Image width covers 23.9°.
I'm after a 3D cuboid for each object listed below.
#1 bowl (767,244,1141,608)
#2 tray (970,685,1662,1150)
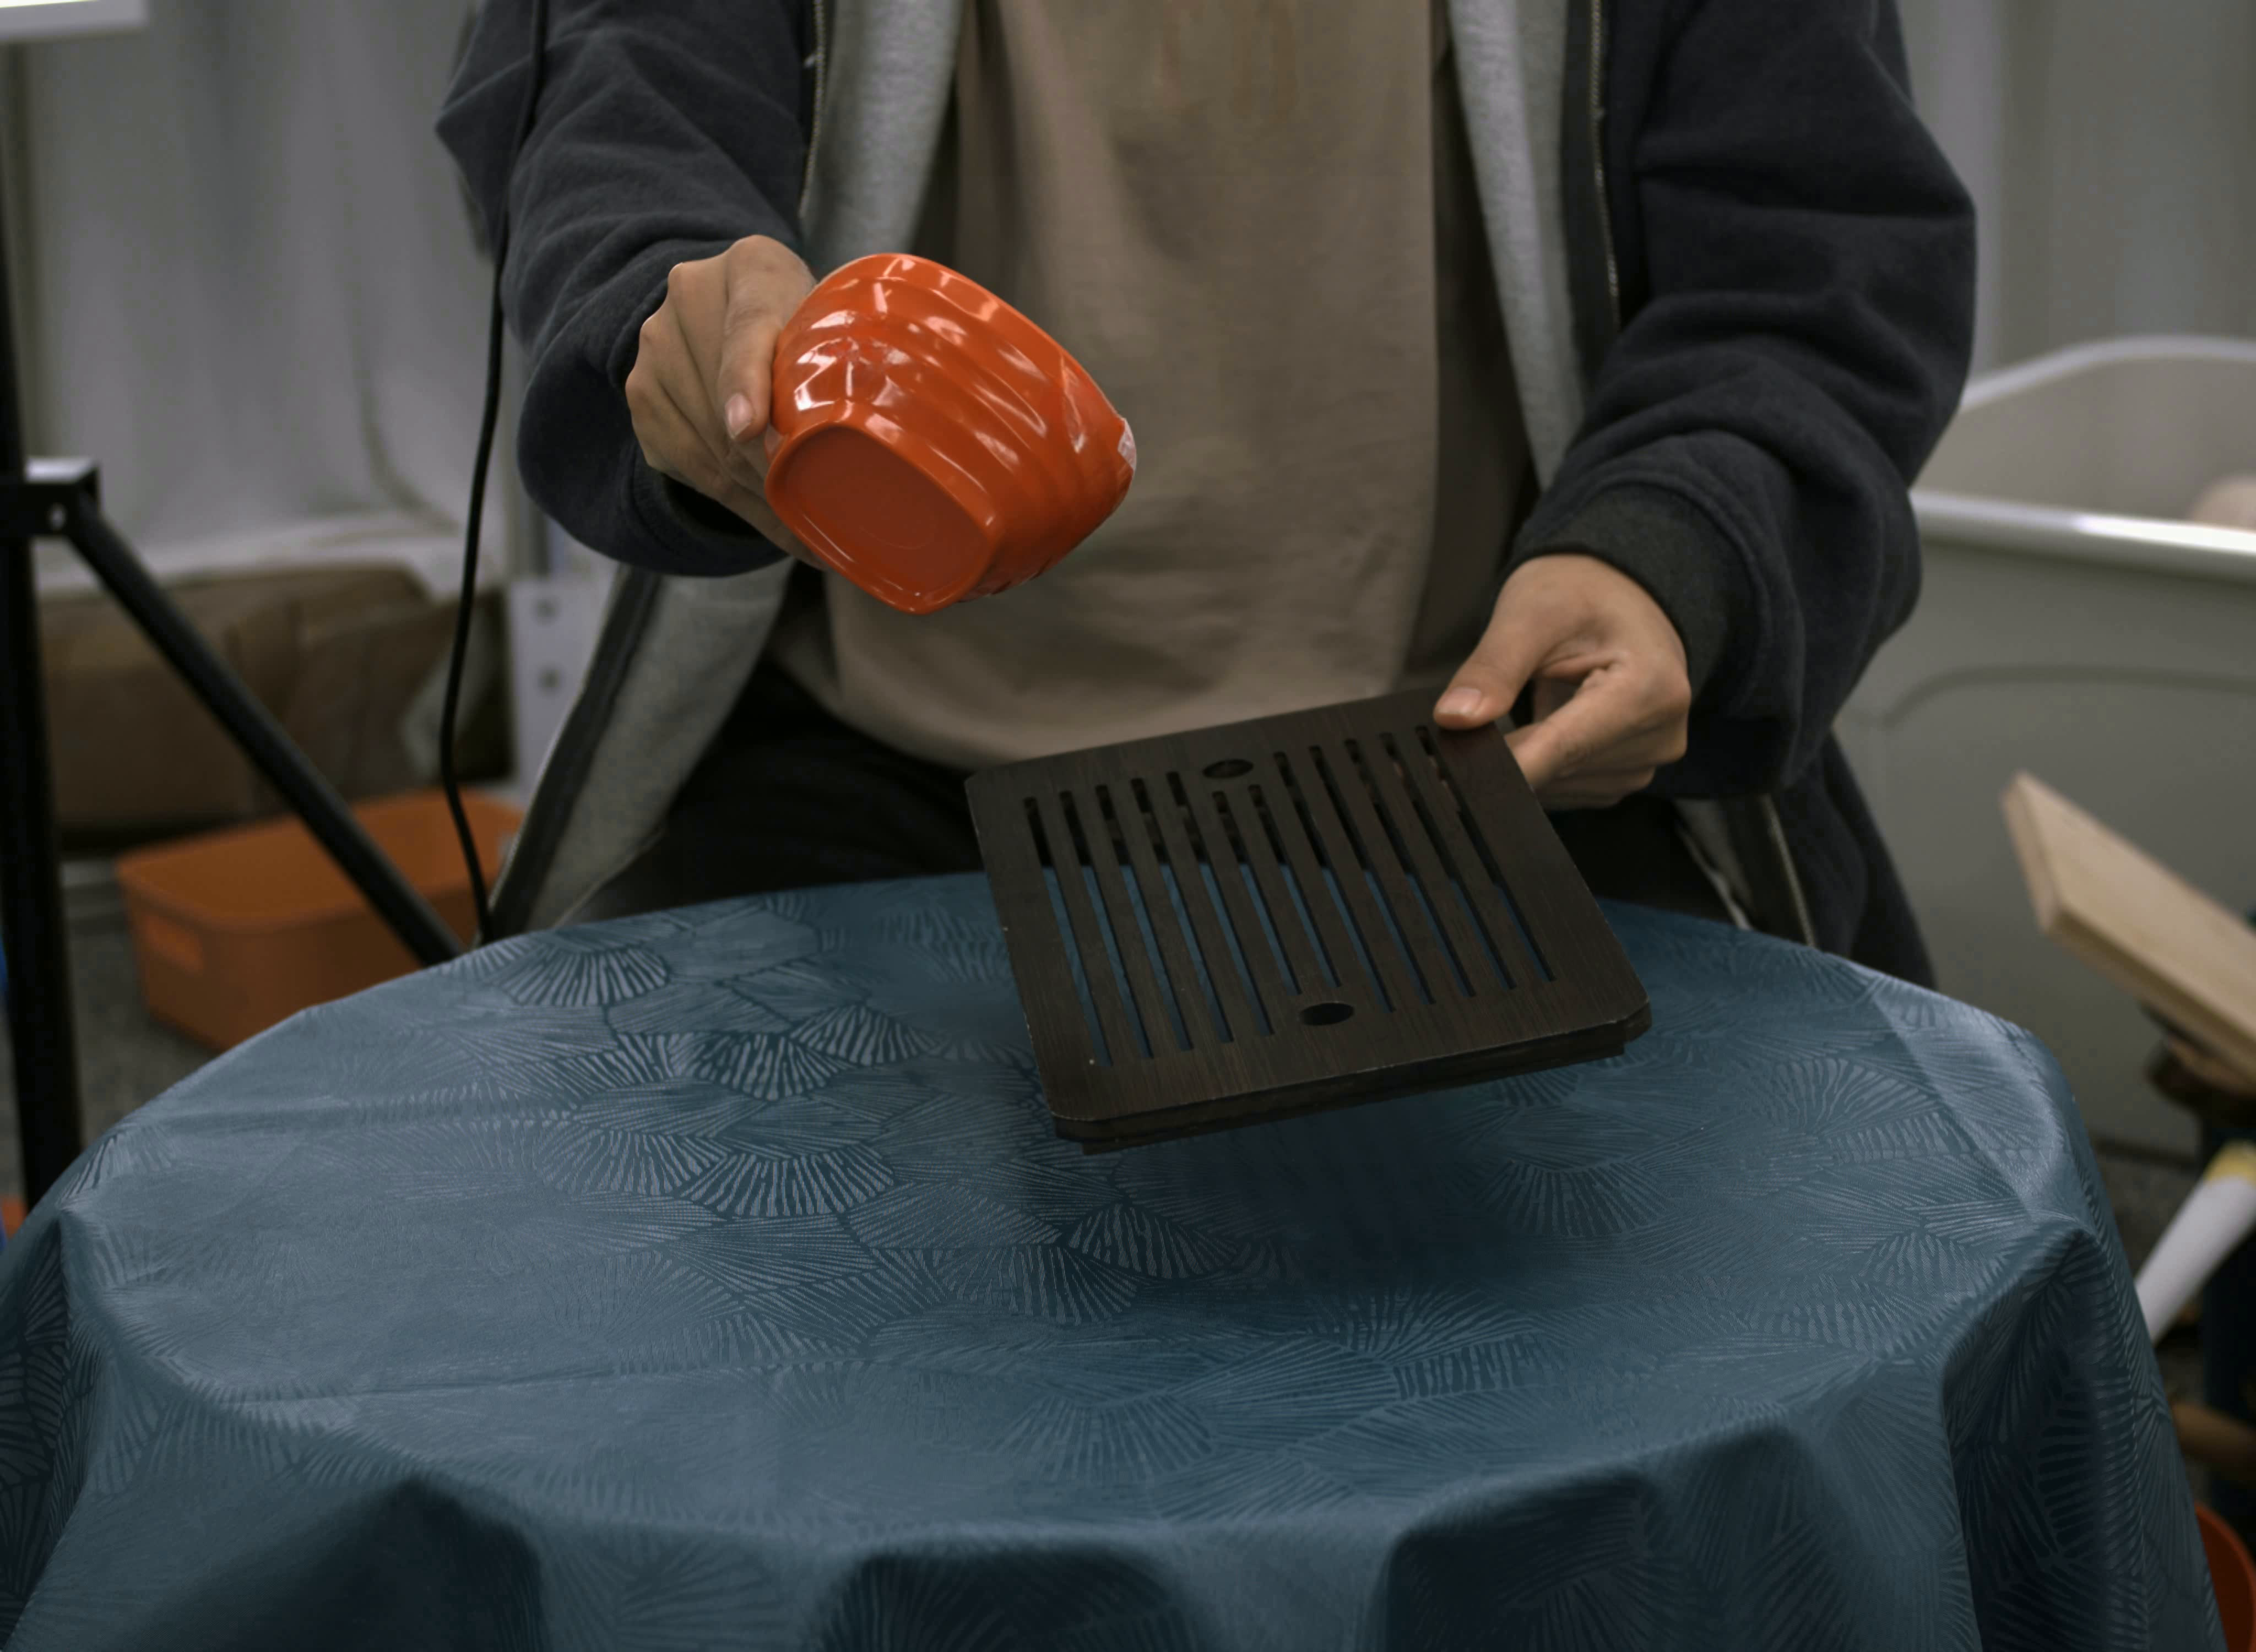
[{"bbox_3d":[-0.059,-0.106,1.539,0.121,0.117,0.051,9,51,33],"label":"bowl"},{"bbox_3d":[0.049,0.024,1.589,0.169,0.018,0.309,-11,20,-2],"label":"tray"}]
